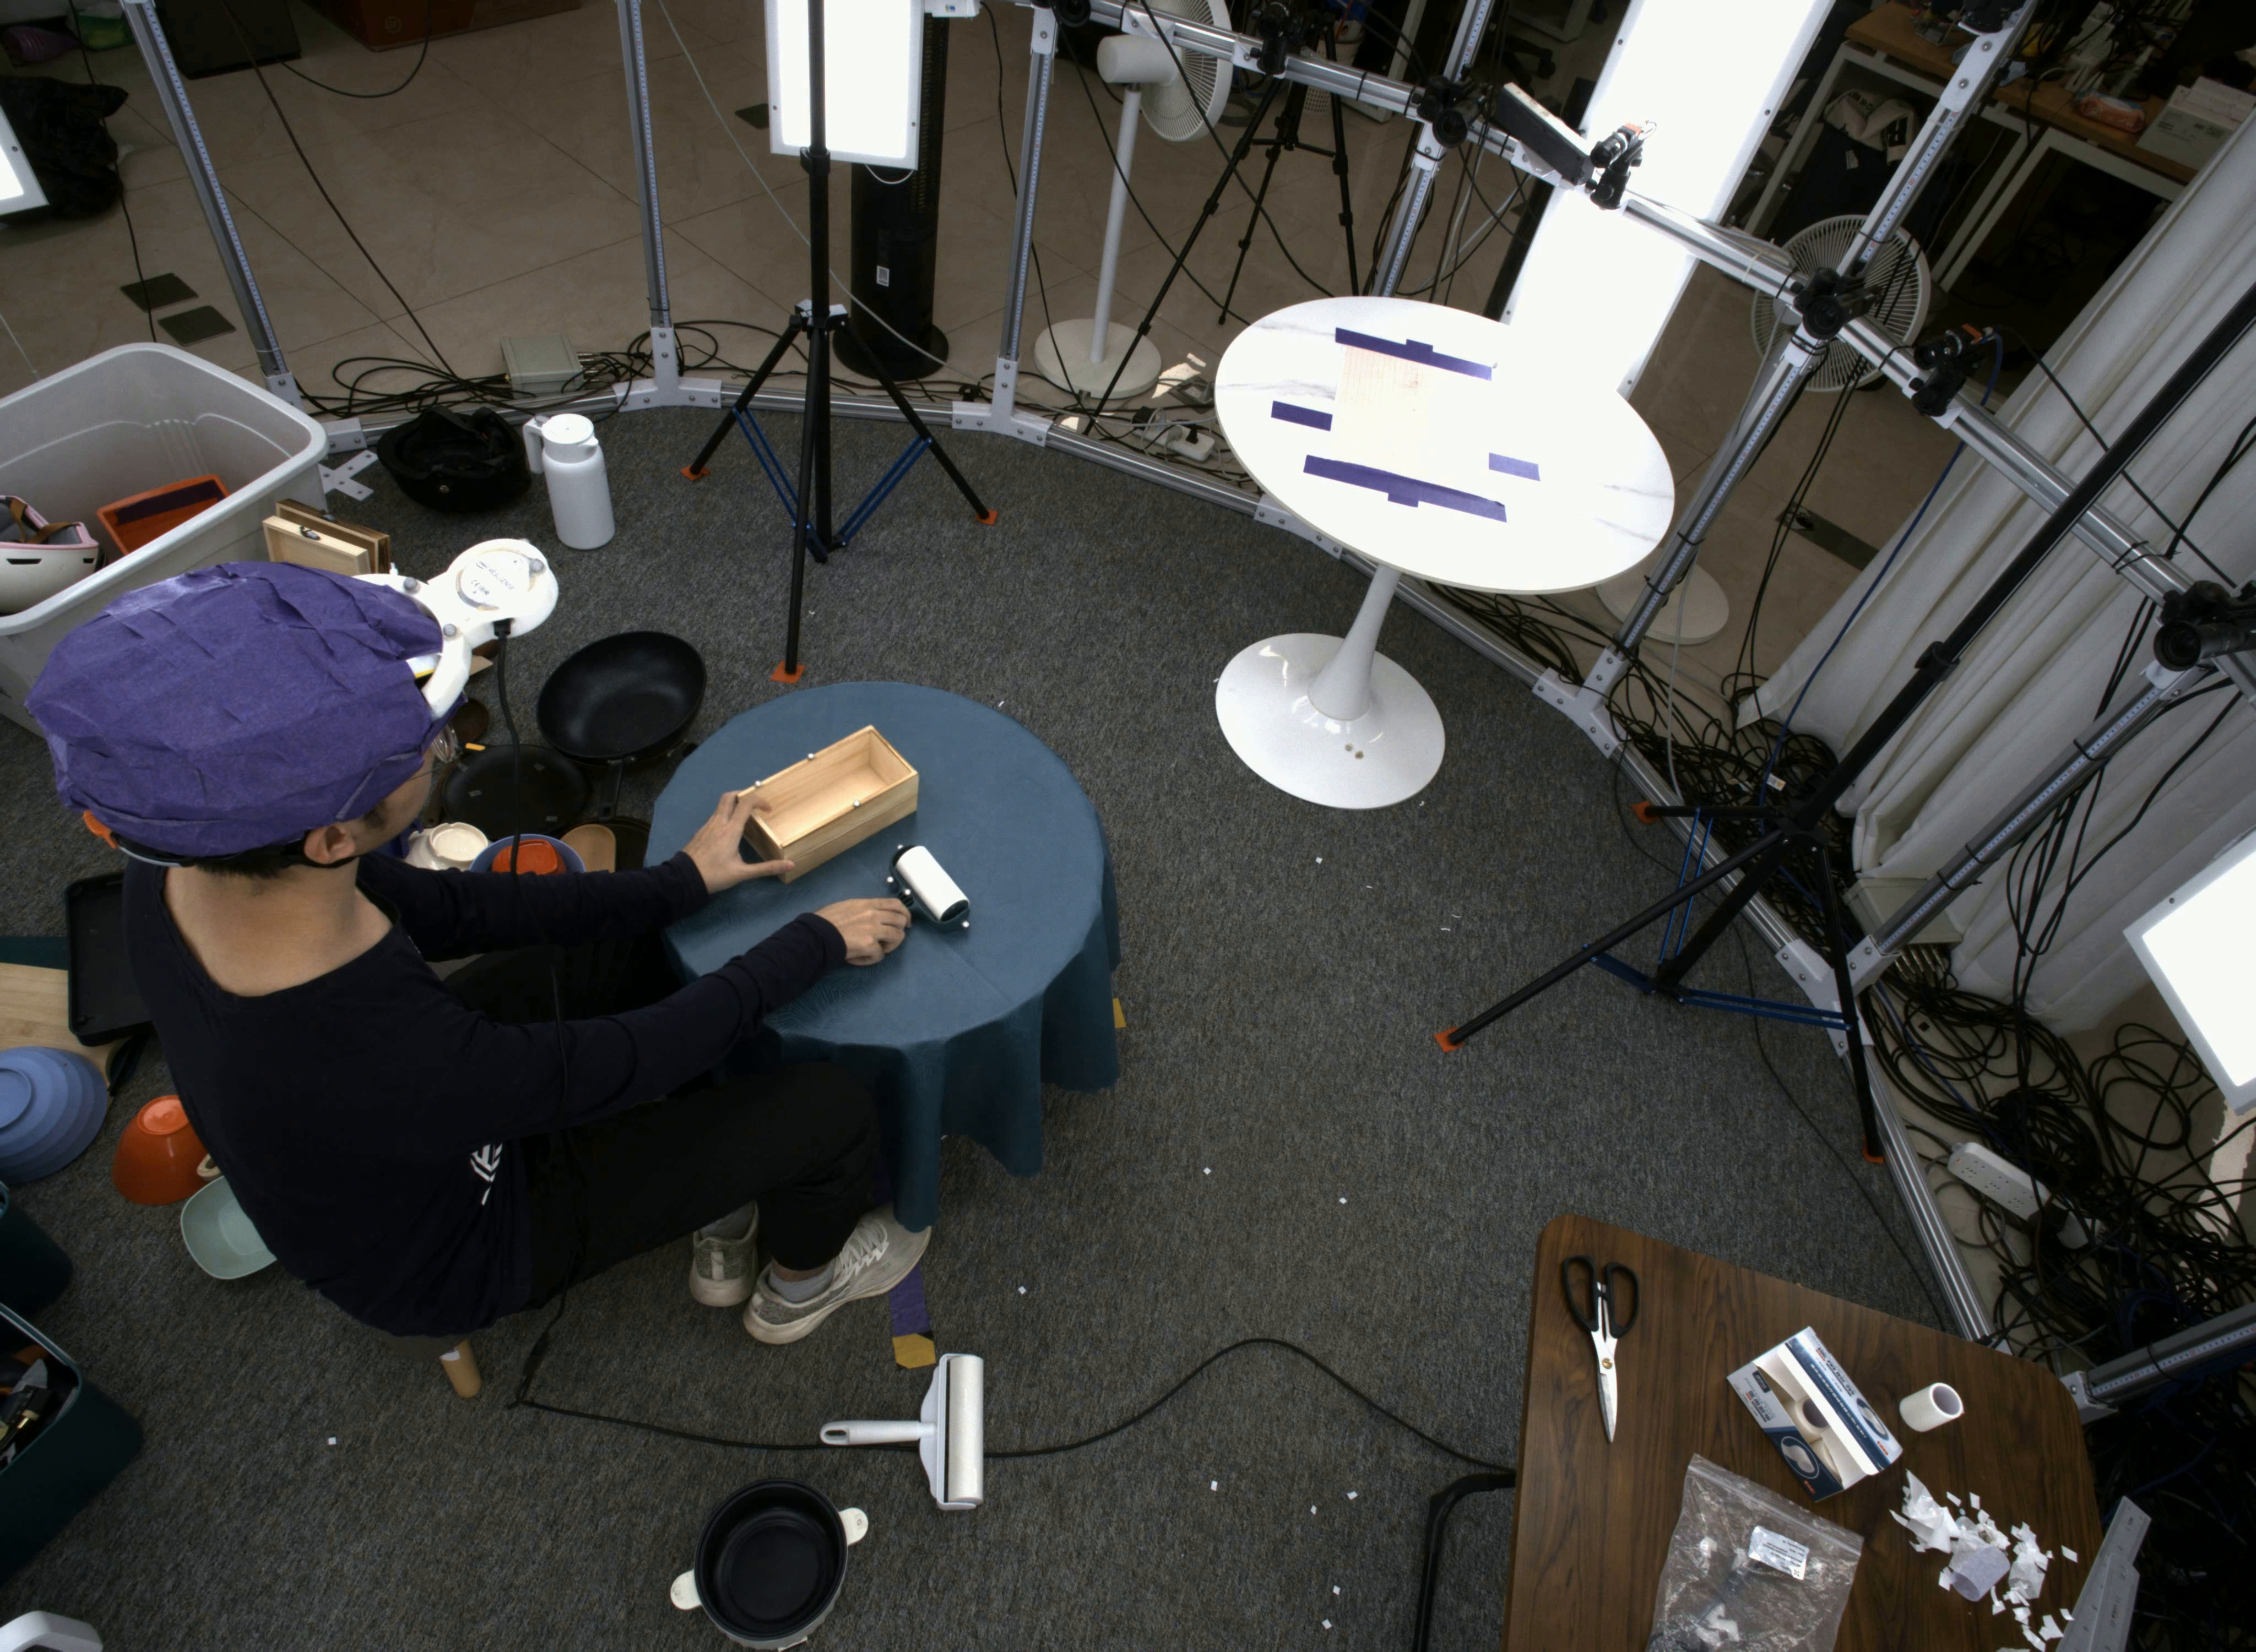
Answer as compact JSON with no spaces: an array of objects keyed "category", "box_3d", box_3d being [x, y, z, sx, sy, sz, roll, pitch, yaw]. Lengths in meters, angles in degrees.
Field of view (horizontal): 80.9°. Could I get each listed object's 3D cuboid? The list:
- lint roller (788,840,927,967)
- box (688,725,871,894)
[{"category":"lint roller","box_3d":[-0.357,0.111,1.645,0.180,0.049,0.131,-35,69,-27]},{"category":"box","box_3d":[-0.453,-0.025,1.695,0.105,0.082,0.212,41,57,17]}]
